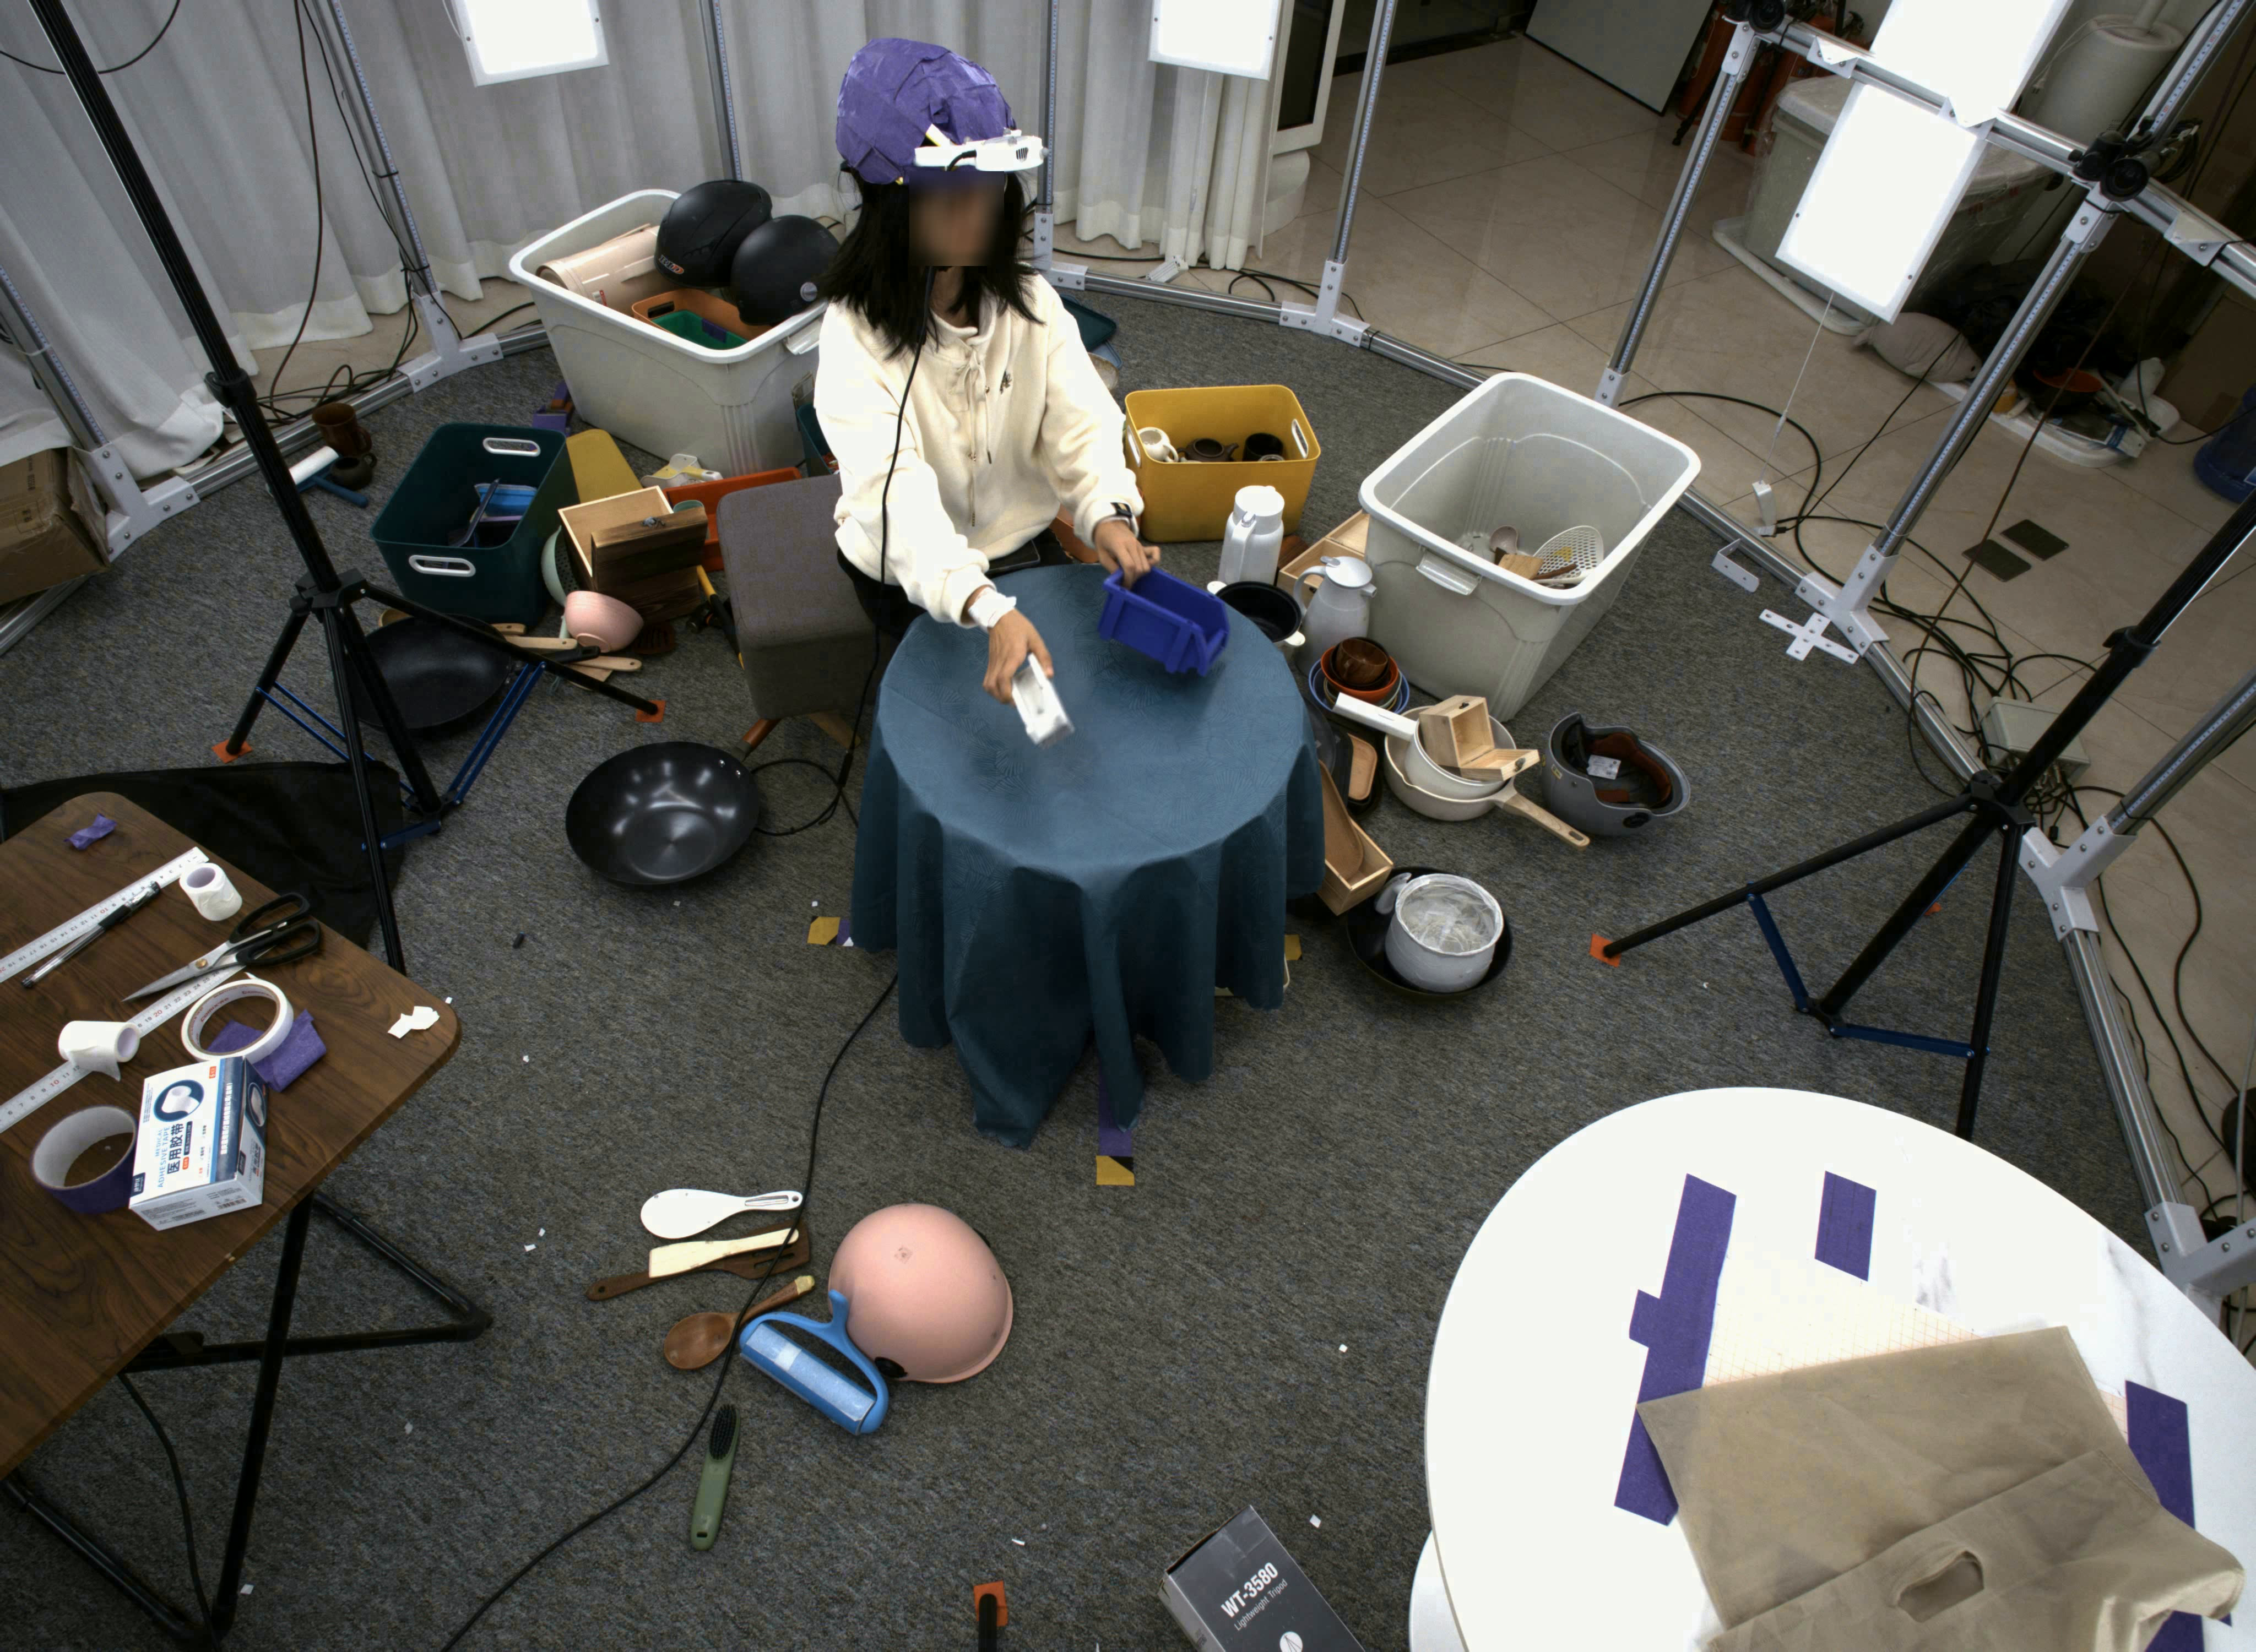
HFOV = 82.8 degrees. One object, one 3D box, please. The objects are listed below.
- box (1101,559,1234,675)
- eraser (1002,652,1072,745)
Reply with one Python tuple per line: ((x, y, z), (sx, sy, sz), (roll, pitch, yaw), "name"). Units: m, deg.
((0.059, -0.294, 1.832), (0.180, 0.080, 0.126), (26, 33, 8), "box")
((-0.116, -0.165, 1.651), (0.049, 0.045, 0.137), (-37, 42, 9), "eraser")
